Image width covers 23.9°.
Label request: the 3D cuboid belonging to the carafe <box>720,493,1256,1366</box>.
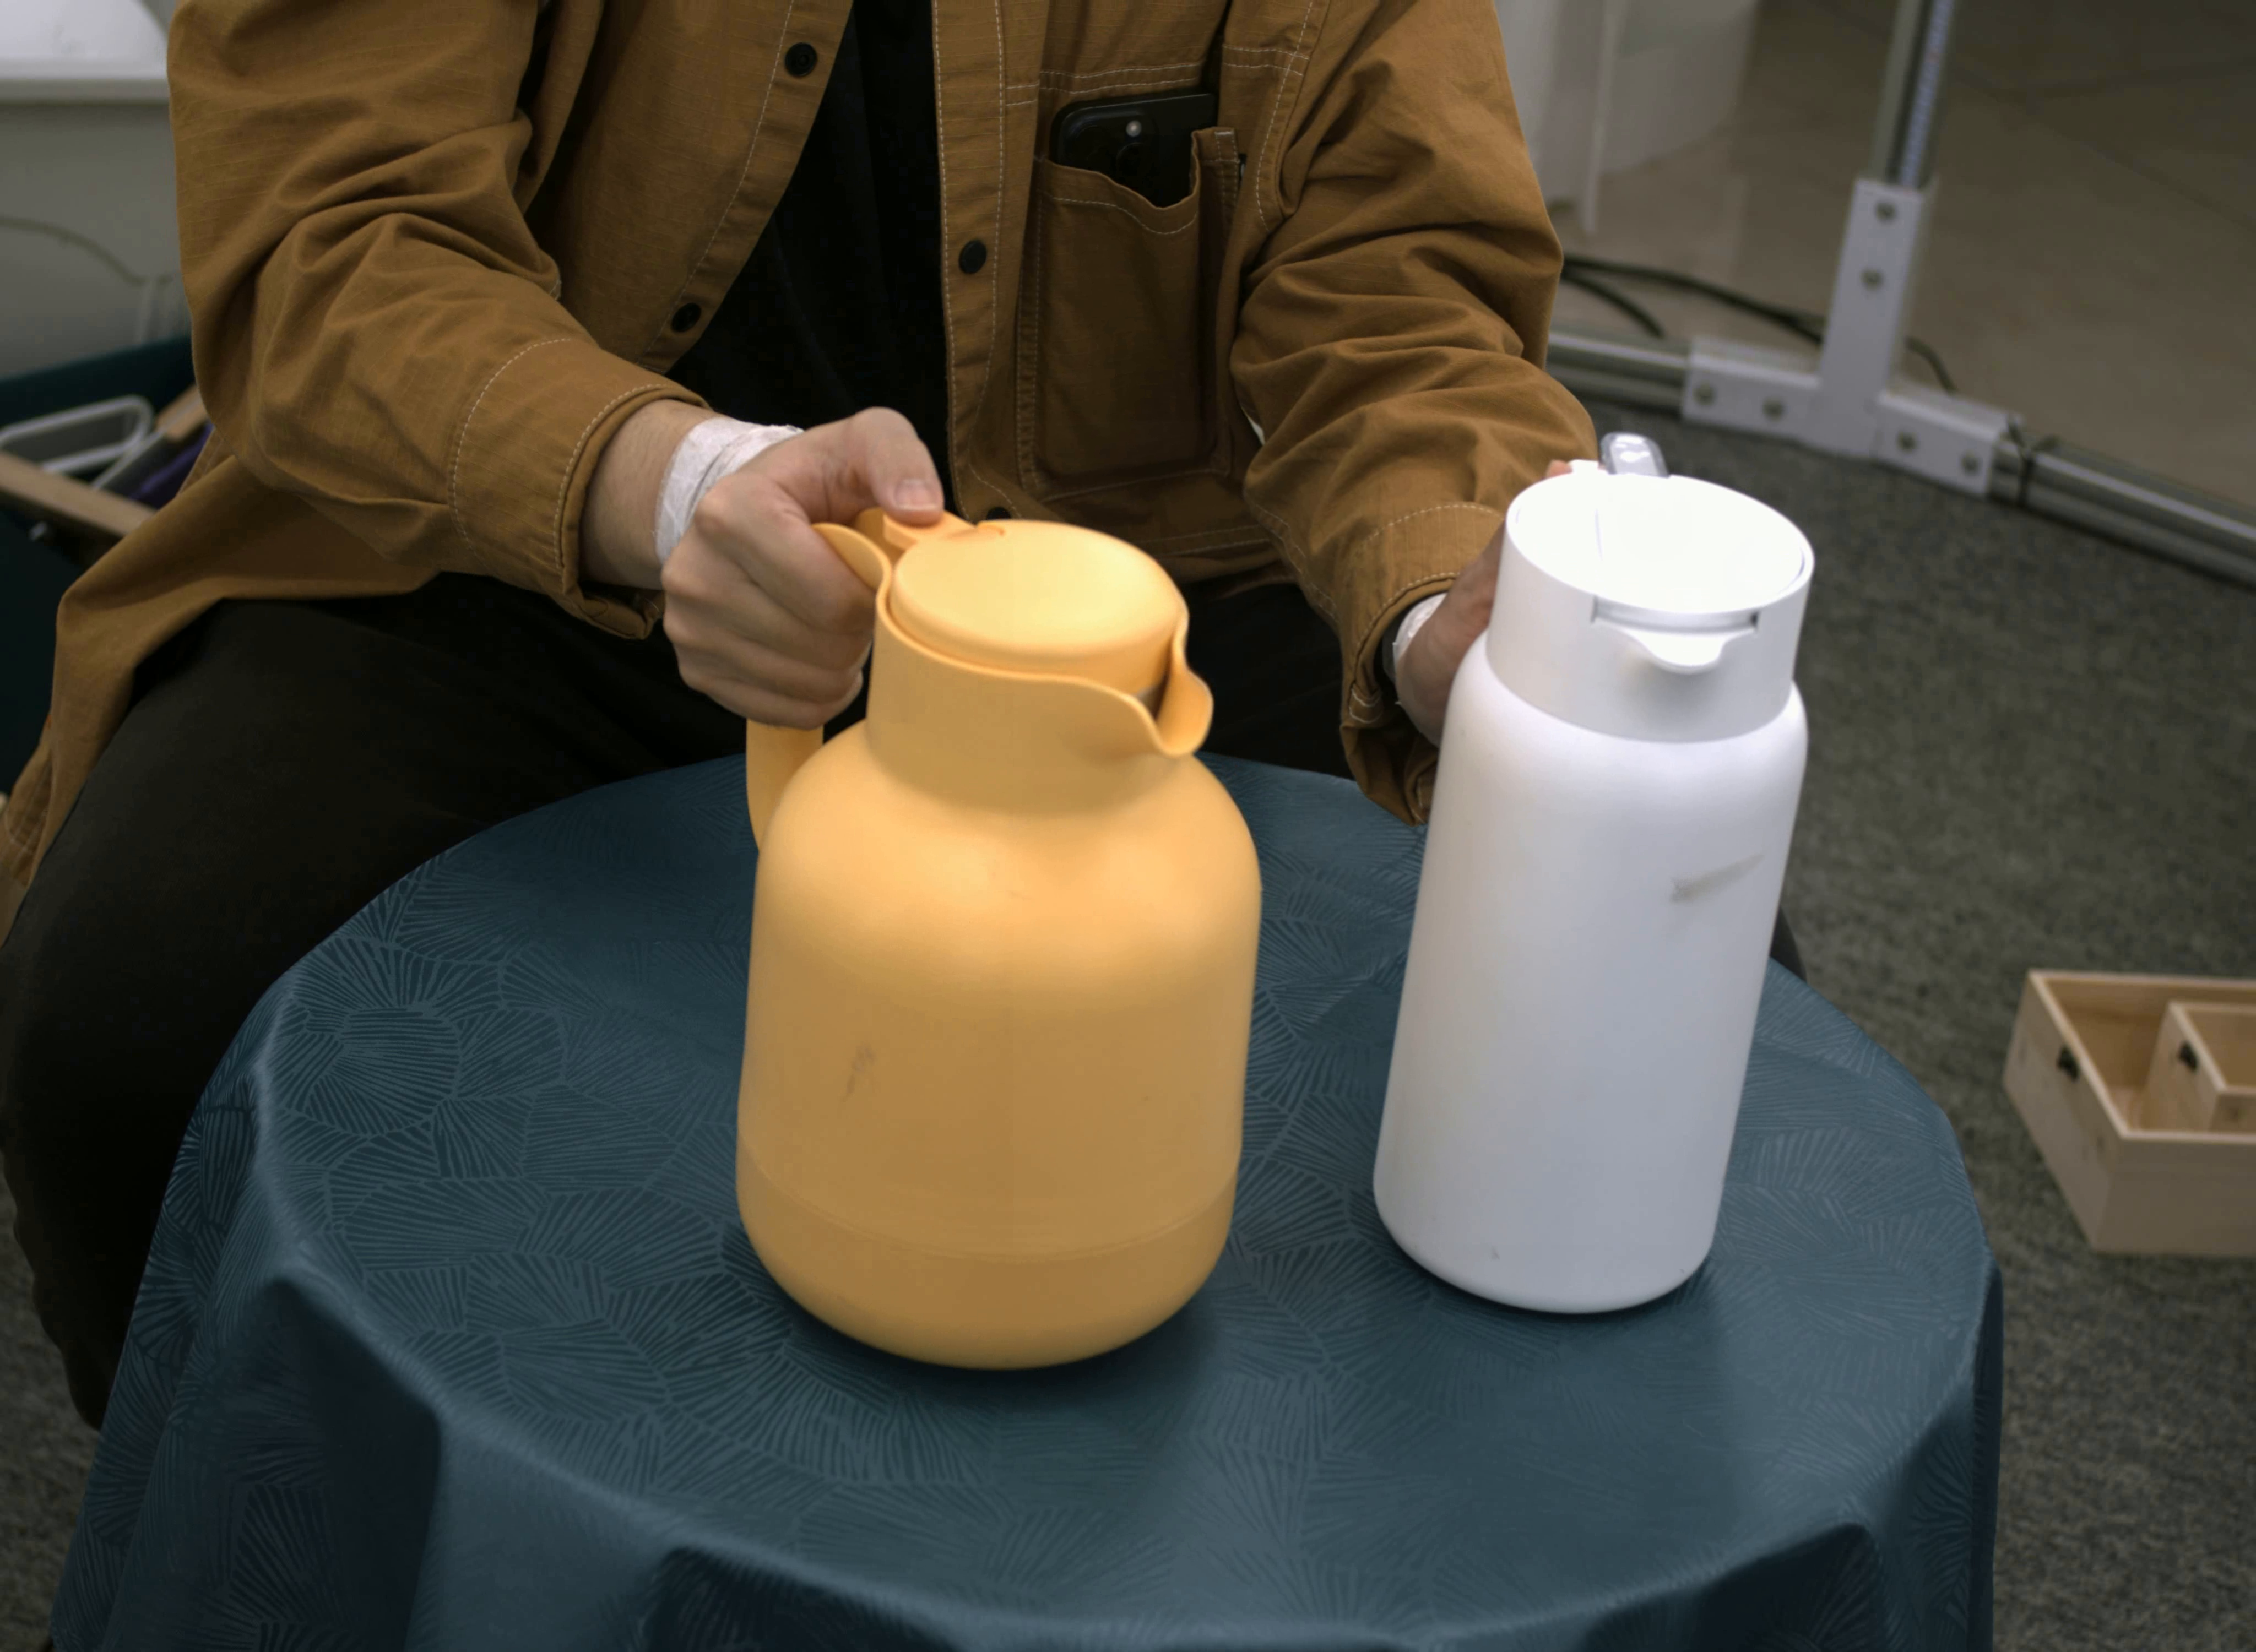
[{"bbox_3d":[-0.052,0.023,1.698,0.162,0.259,0.204,-14,35,-37],"label":"carafe"}]

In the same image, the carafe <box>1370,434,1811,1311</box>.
[{"bbox_3d":[0.150,0.012,1.758,0.123,0.268,0.174,1,29,-6],"label":"carafe"}]
